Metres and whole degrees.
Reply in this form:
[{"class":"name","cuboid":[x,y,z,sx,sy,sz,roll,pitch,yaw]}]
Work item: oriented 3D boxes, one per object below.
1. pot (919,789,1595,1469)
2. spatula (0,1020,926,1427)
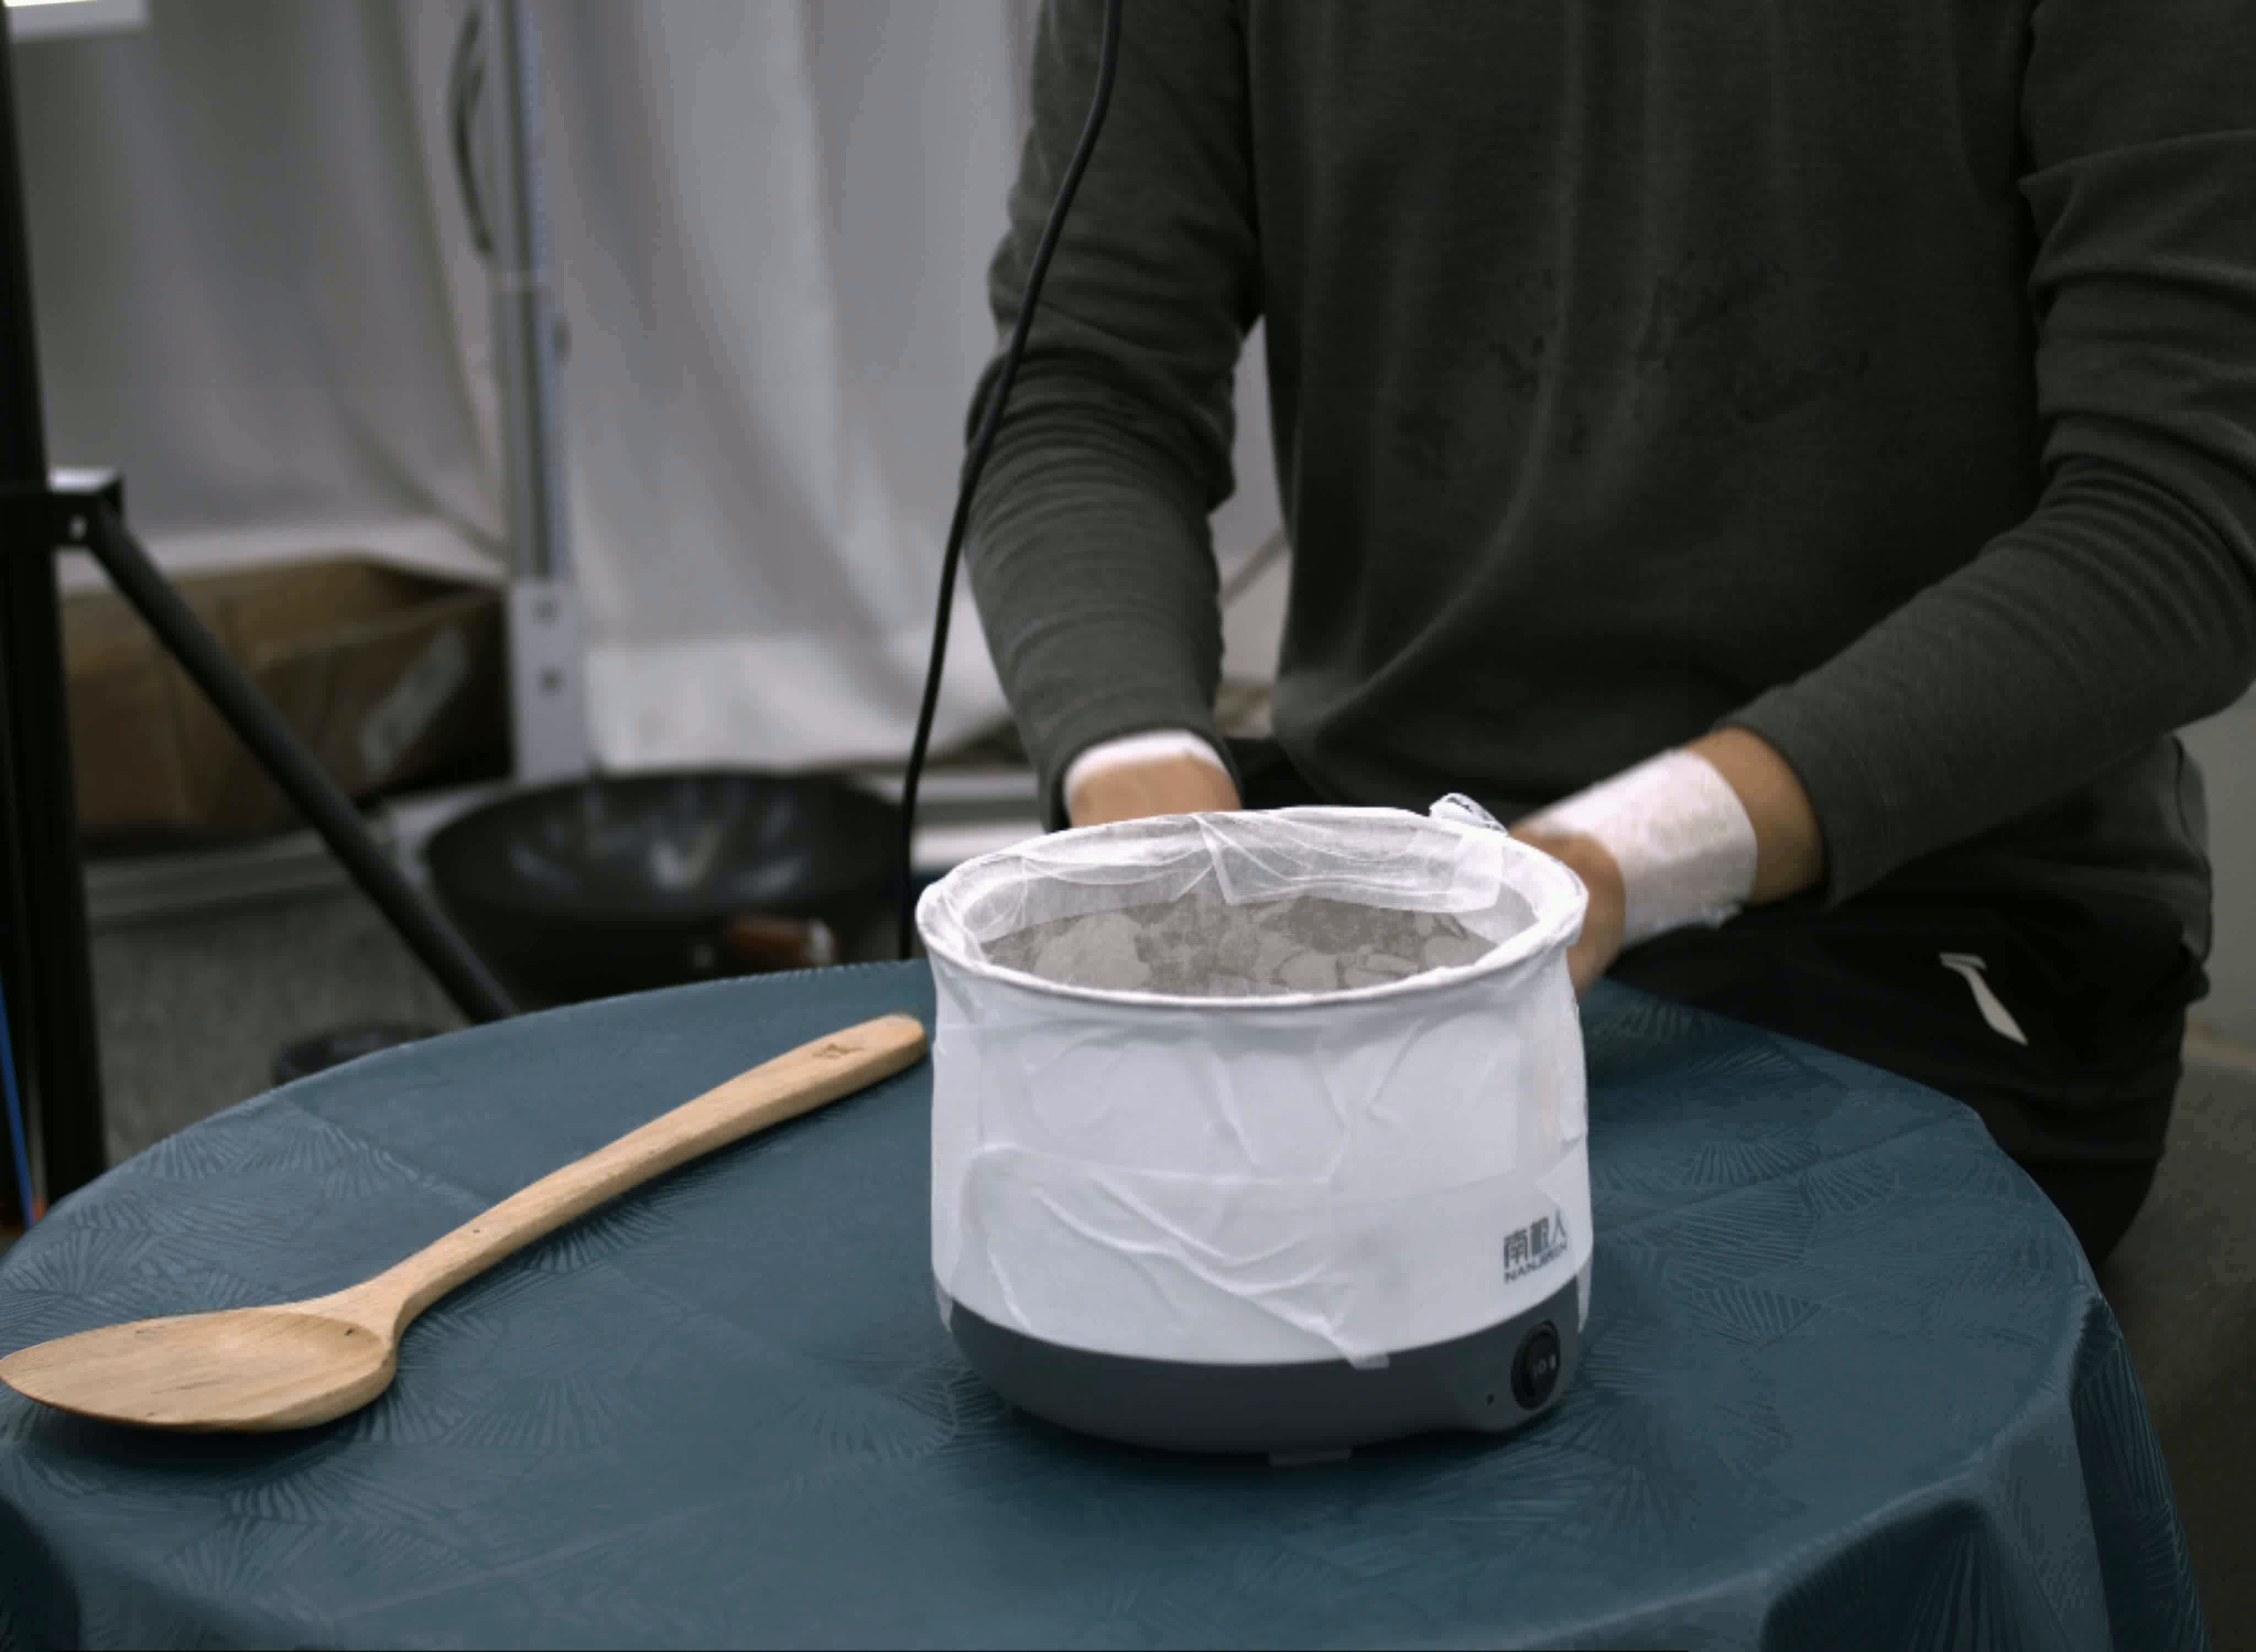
[{"class":"pot","cuboid":[0.051,0.073,1.424,0.182,0.136,0.229,10,20,35]},{"class":"spatula","cuboid":[-0.174,0.109,1.552,0.097,0.018,0.383,9,19,30]}]
